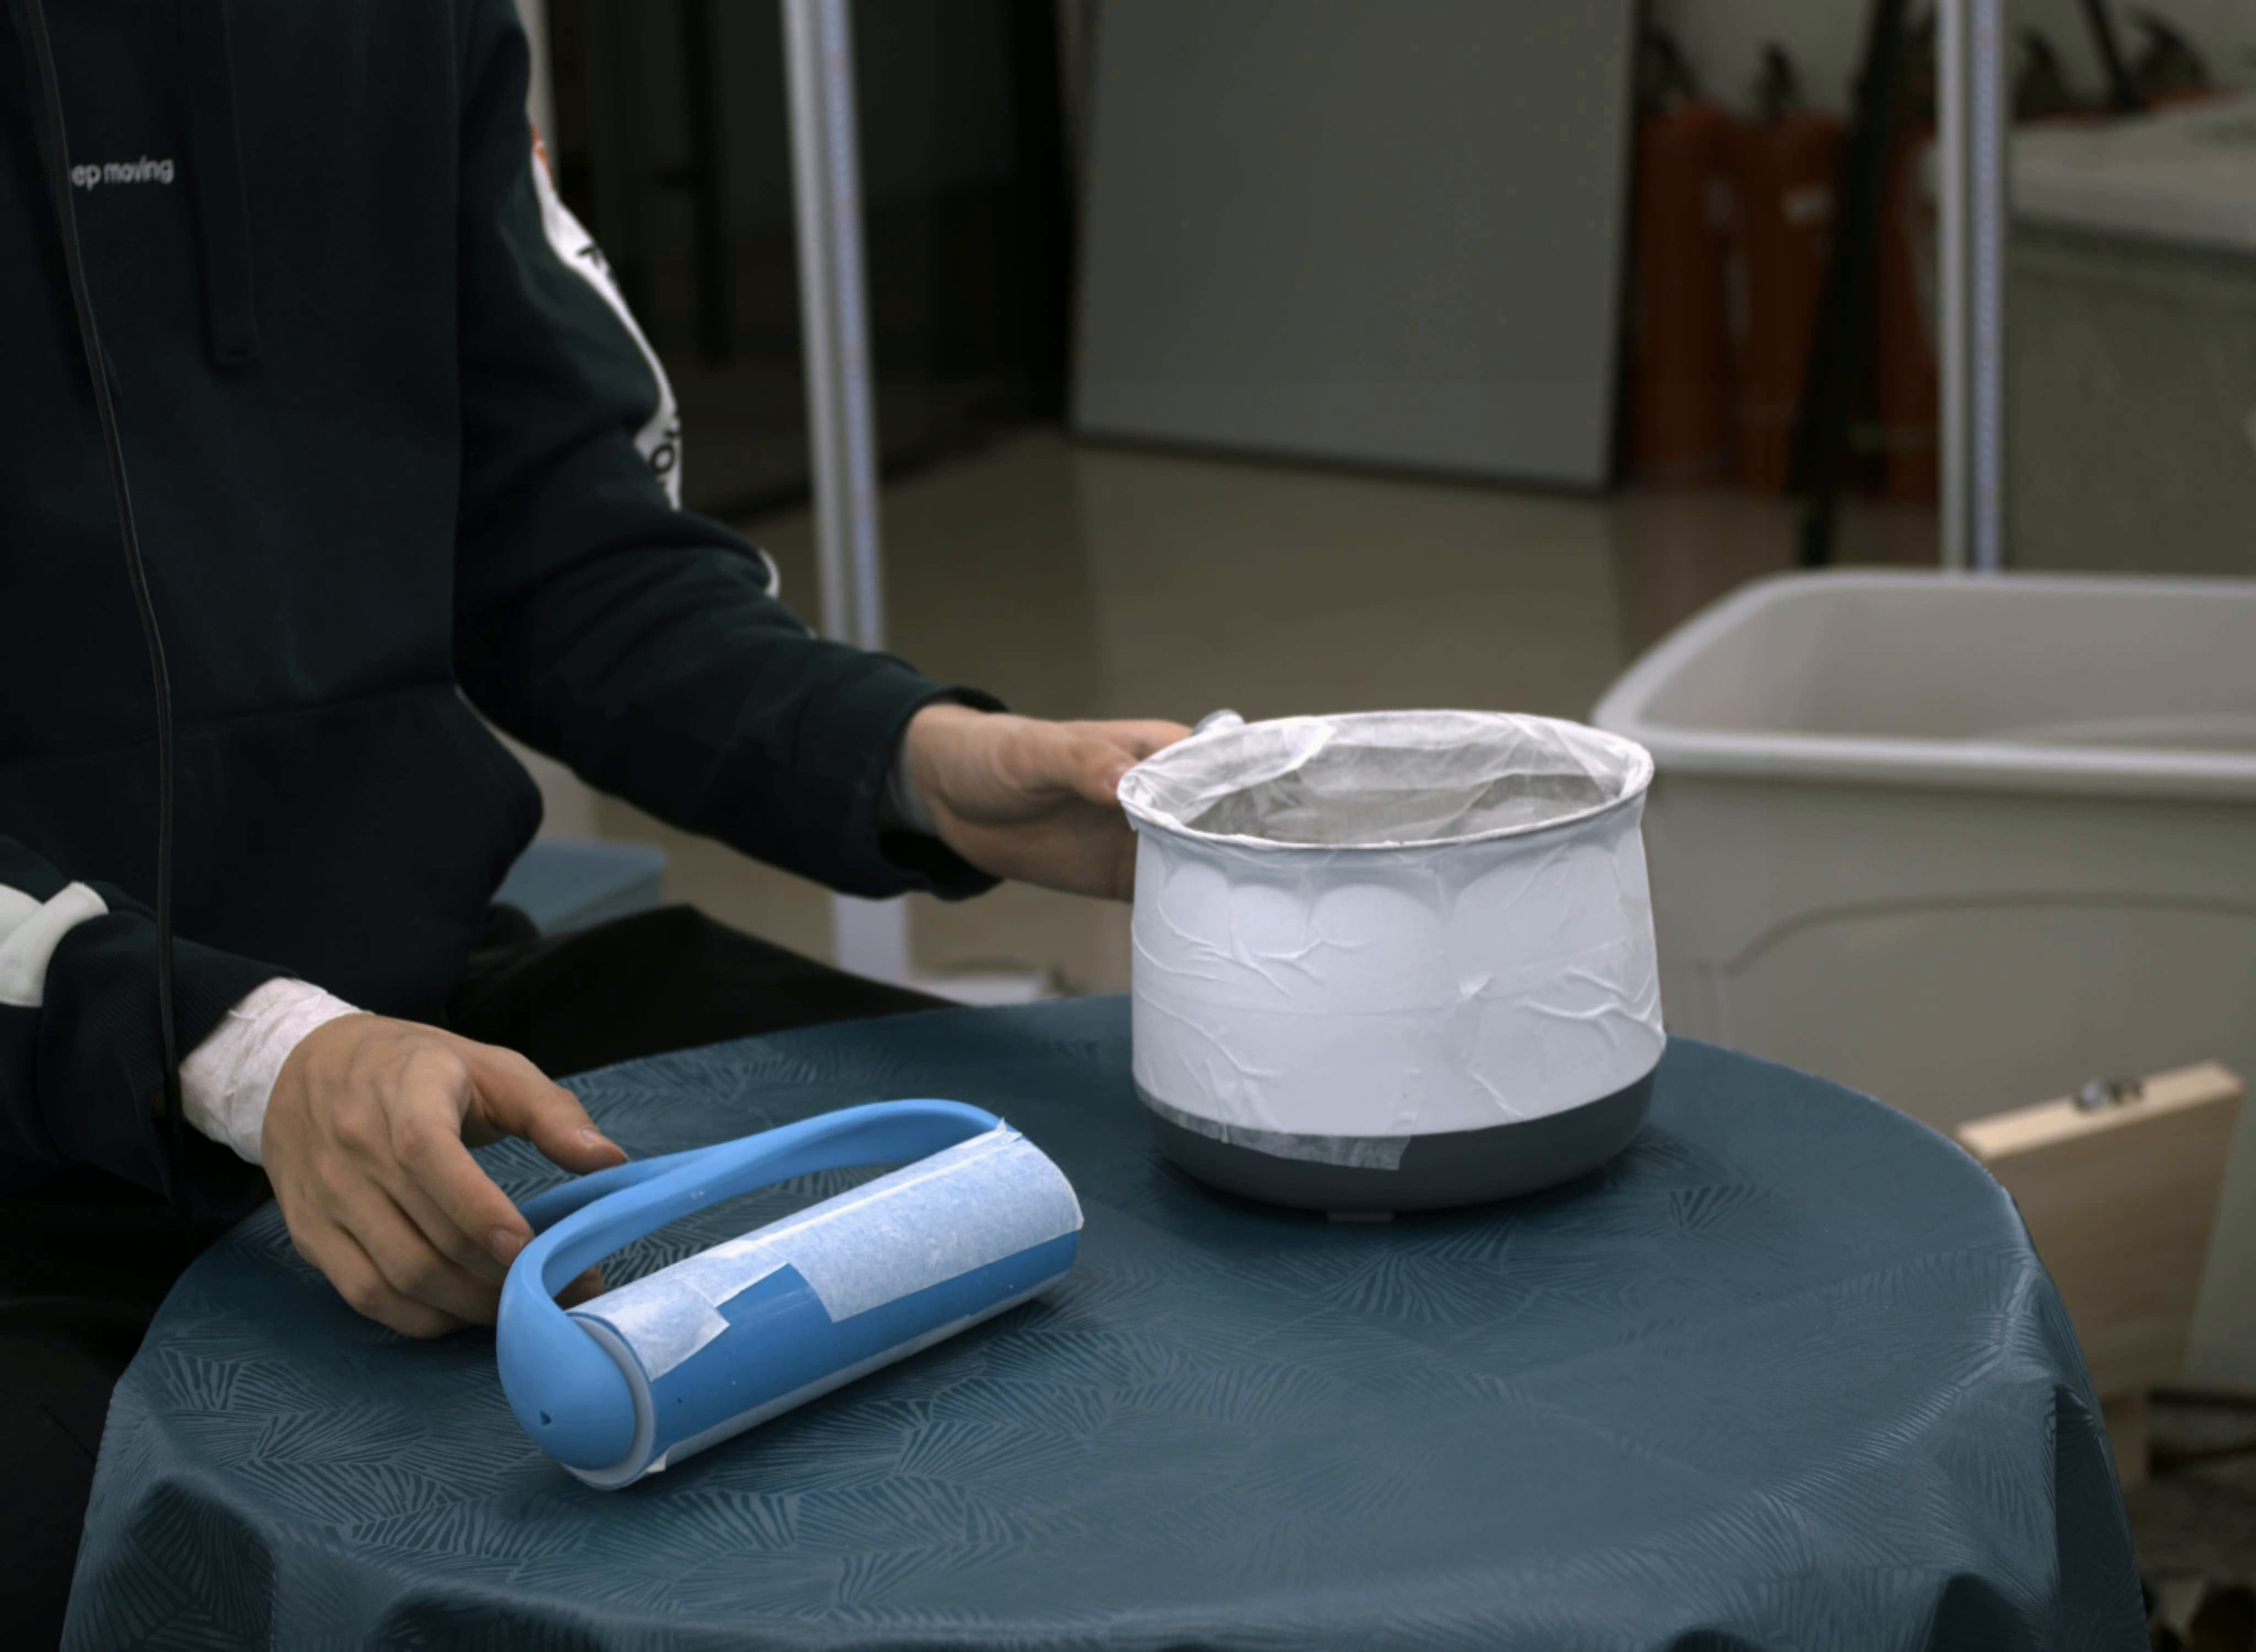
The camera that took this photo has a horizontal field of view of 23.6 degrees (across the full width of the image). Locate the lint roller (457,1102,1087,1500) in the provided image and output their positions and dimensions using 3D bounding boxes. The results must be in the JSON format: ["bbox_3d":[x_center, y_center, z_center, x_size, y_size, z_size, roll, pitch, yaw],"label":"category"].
[{"bbox_3d":[-0.138,0.135,1.636,0.181,0.068,0.225,7,19,35],"label":"lint roller"}]

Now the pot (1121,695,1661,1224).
[{"bbox_3d":[0.073,0.037,1.793,0.175,0.138,0.236,-12,17,-30],"label":"pot"}]
